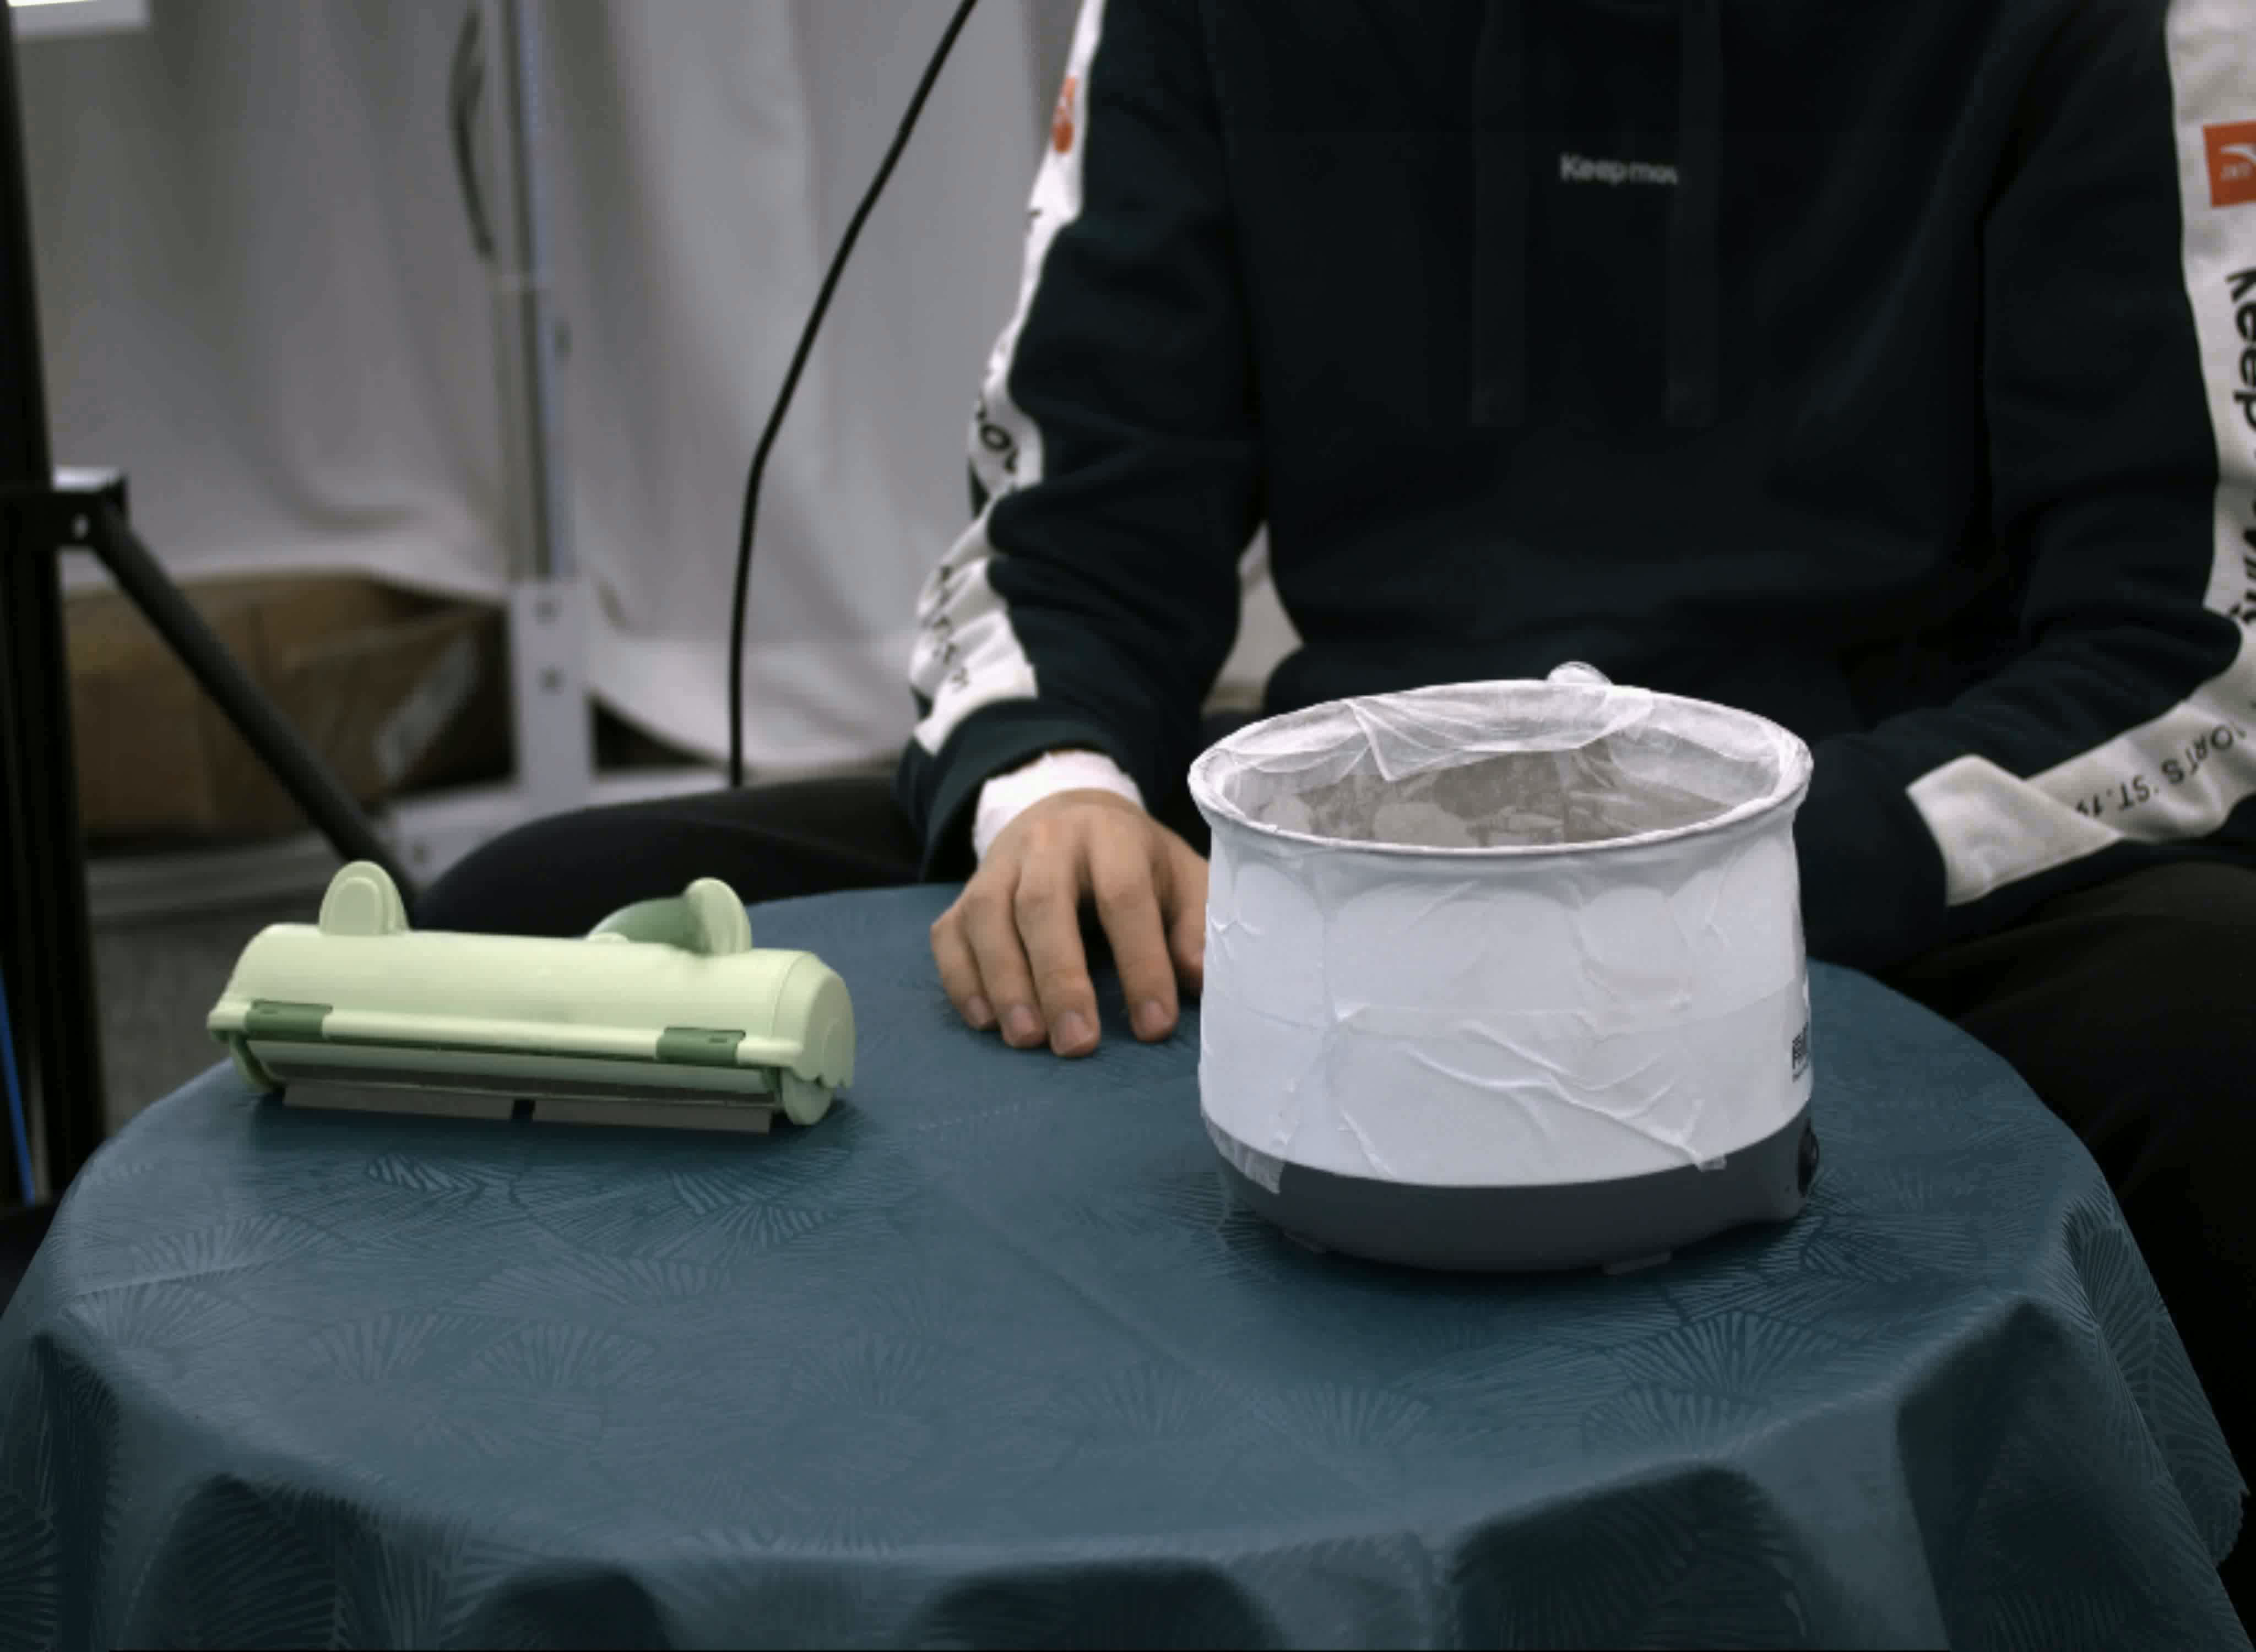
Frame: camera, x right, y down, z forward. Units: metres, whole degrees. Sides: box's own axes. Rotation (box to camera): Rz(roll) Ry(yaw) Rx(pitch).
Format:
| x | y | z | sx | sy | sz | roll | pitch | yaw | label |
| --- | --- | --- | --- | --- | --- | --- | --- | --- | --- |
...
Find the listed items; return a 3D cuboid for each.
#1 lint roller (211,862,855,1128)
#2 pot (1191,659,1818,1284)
| x | y | z | sx | sy | sz | roll | pitch | yaw | label |
| --- | --- | --- | --- | --- | --- | --- | --- | --- | --- |
| -0.169 | 0.036 | 1.705 | 0.200 | 0.082 | 0.182 | 2 | 21 | 18 | lint roller |
| 0.116 | 0.036 | 1.540 | 0.180 | 0.136 | 0.231 | 3 | 17 | 17 | pot |
